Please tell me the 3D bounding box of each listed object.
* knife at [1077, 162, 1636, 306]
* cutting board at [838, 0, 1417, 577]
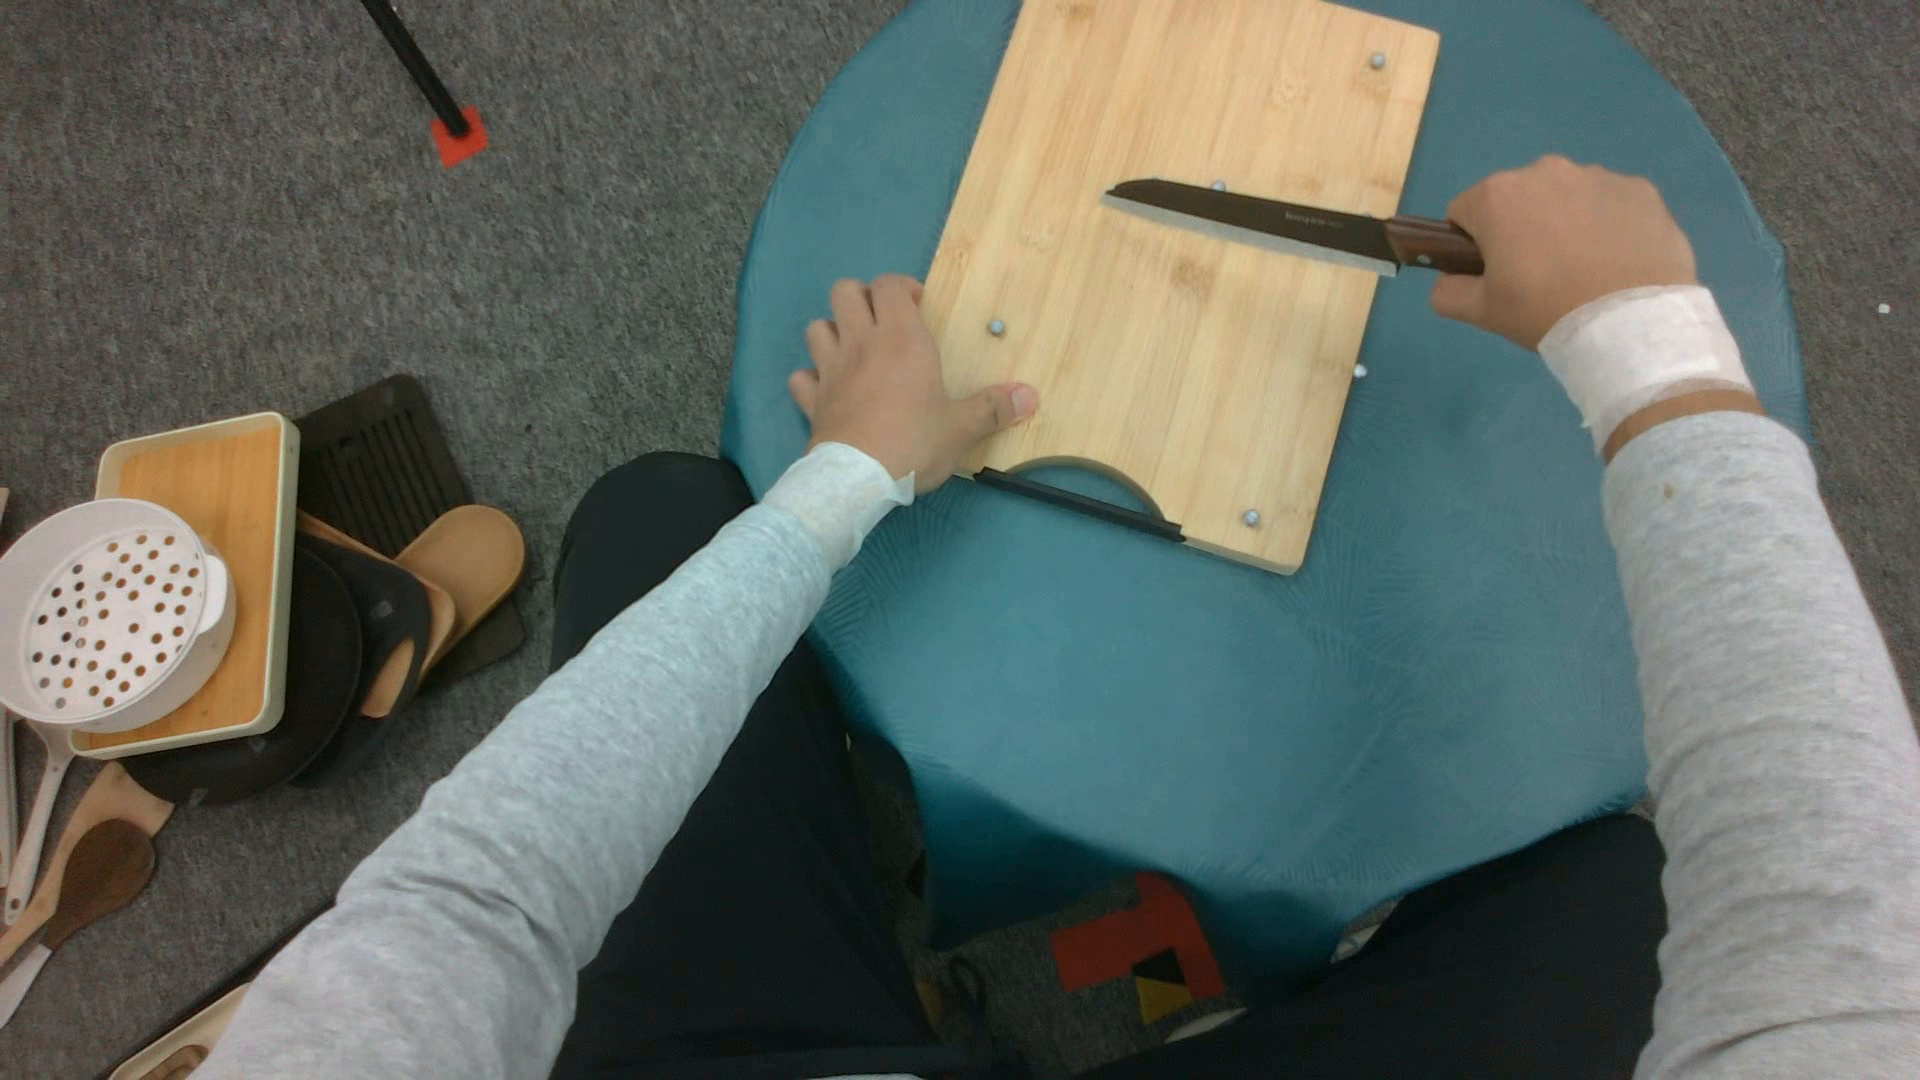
[{"bbox_3d":[0.185,-0.157,0.693,0.289,0.050,0.020,18,70,28],"label":"knife"},{"bbox_3d":[0.103,-0.174,0.784,0.250,0.023,0.349,16,74,4],"label":"cutting board"}]
